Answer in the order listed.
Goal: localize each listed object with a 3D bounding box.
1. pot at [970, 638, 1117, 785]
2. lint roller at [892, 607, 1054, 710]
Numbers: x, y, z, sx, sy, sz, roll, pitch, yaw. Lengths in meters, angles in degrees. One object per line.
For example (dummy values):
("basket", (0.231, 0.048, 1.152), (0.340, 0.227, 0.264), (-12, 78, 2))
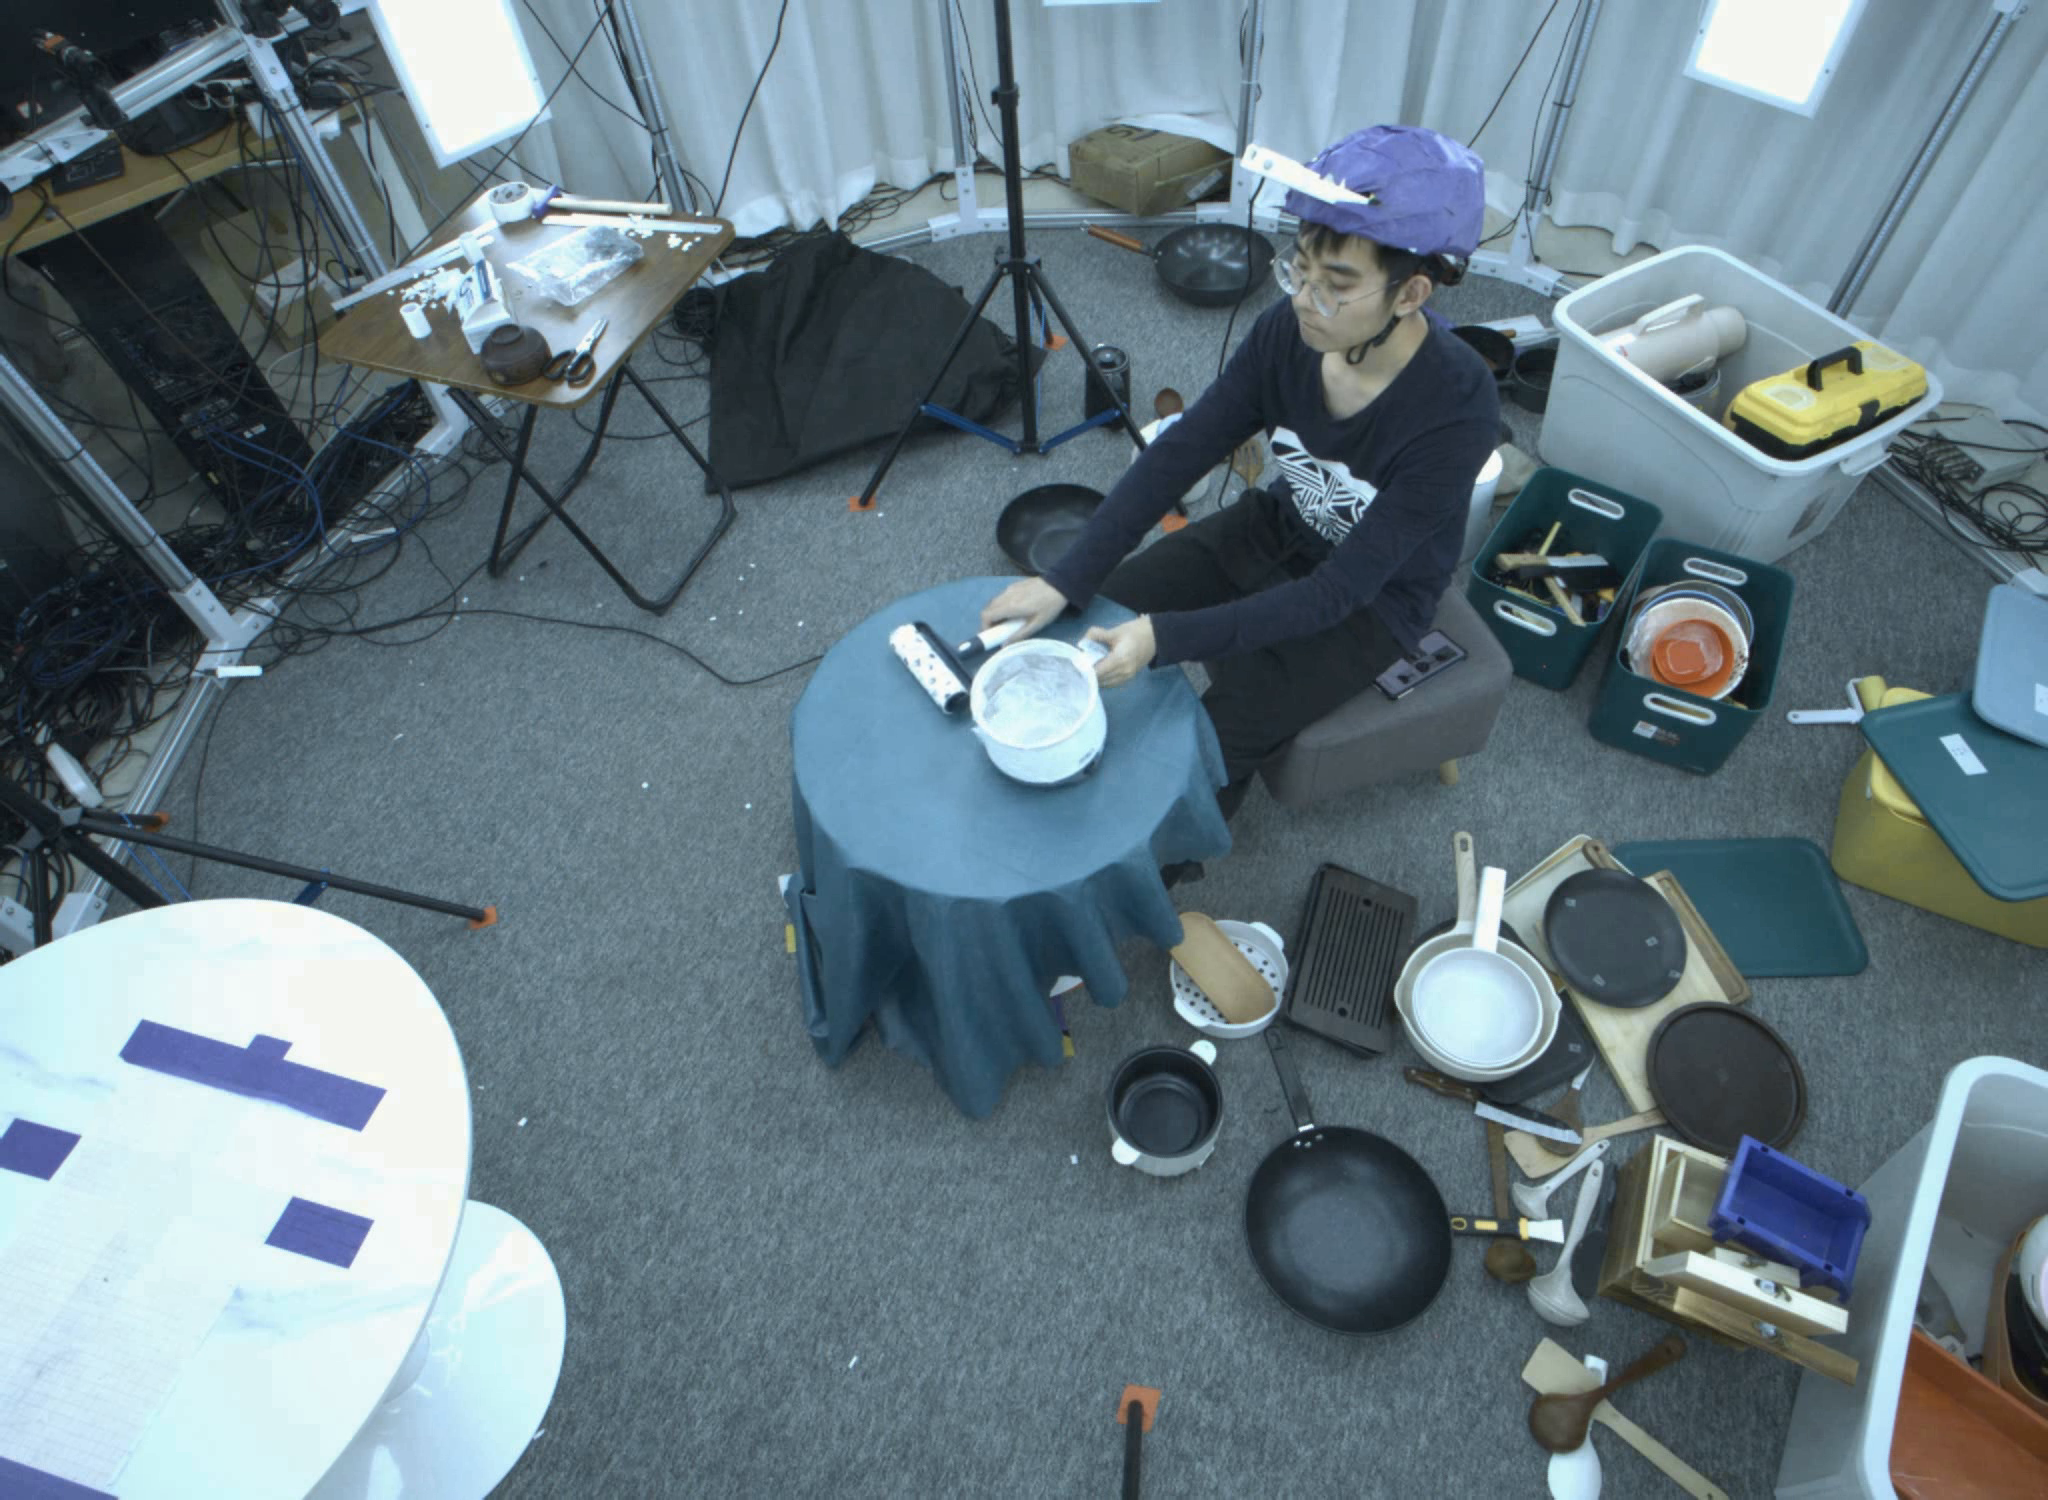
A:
("pot", (0.041, -0.069, 1.741), (0.176, 0.138, 0.234), (38, 74, 22))
("lint roller", (-0.060, -0.171, 1.892), (0.249, 0.051, 0.173), (-29, 57, -20))
